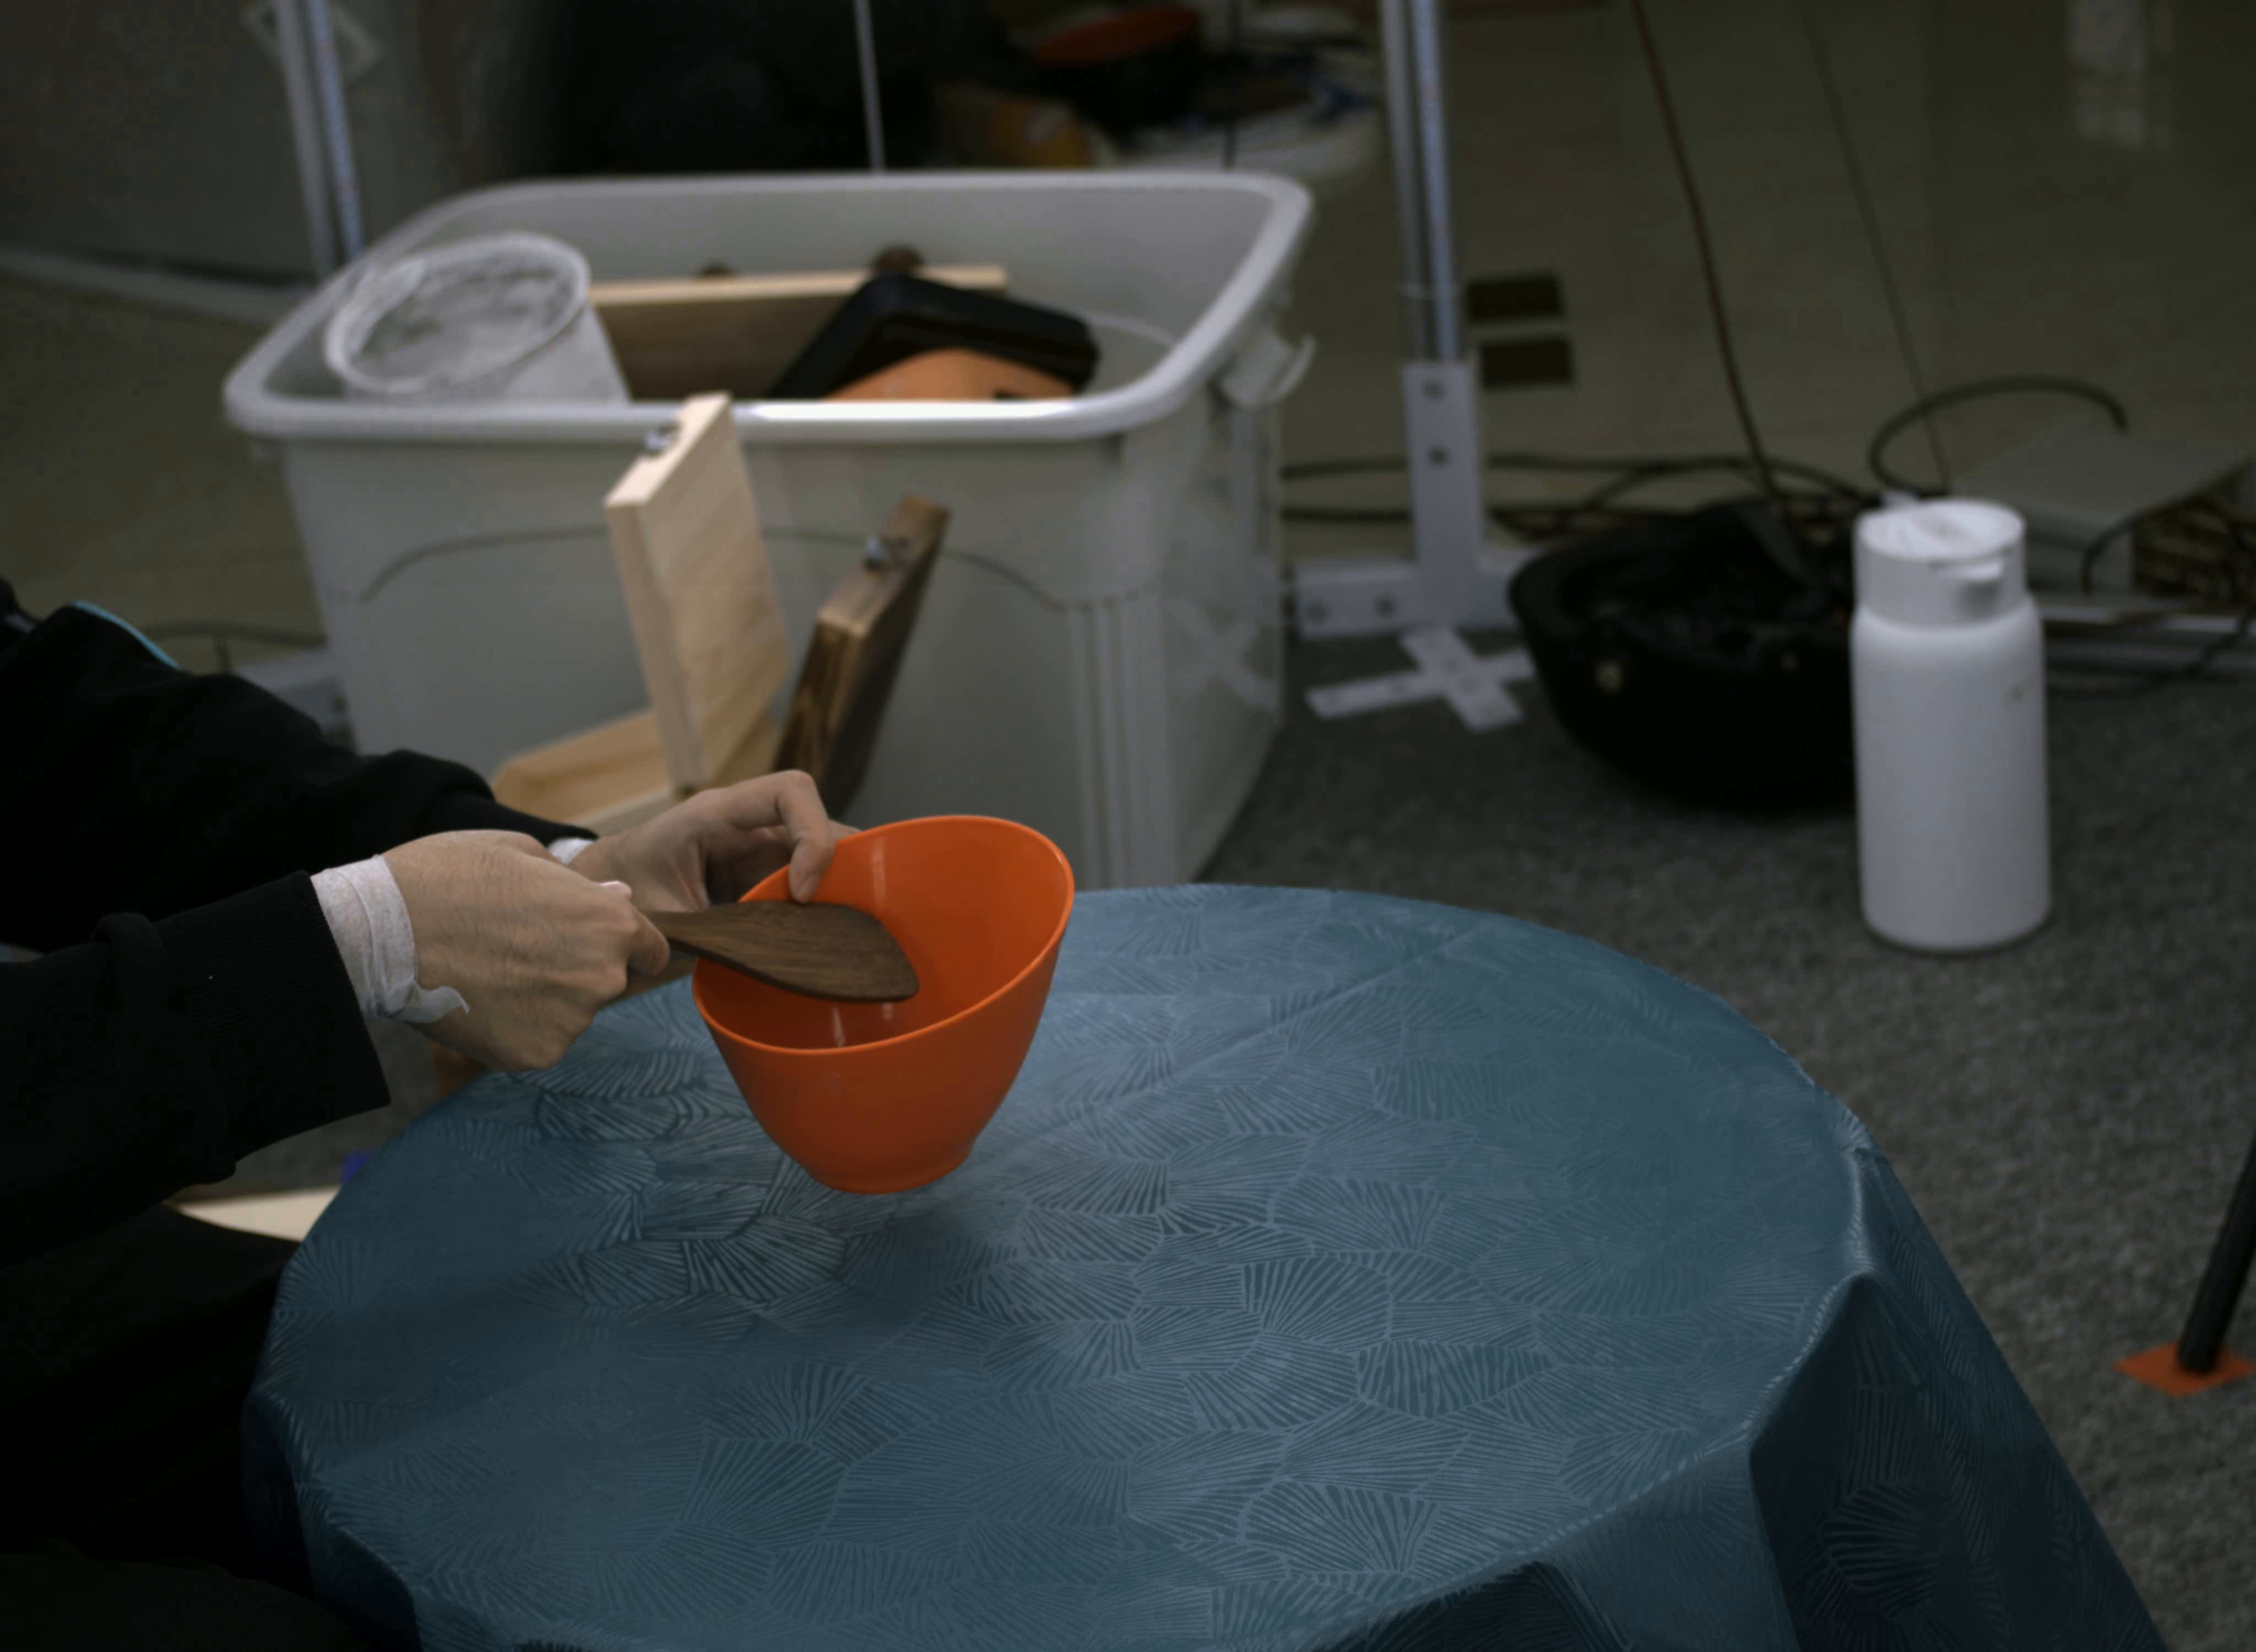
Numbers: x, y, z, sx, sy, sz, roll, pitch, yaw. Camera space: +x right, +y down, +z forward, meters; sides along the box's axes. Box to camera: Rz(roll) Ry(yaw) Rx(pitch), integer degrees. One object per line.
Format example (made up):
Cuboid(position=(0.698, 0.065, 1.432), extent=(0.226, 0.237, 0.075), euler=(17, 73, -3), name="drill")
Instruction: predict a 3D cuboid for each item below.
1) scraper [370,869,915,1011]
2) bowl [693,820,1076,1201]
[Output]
Cuboid(position=(-0.181, 0.038, 2.108), extent=(0.211, 0.011, 0.074), euler=(10, 25, -26), name="scraper")
Cuboid(position=(-0.086, 0.077, 2.136), extent=(0.148, 0.106, 0.145), euler=(-6, 31, 4), name="bowl")
